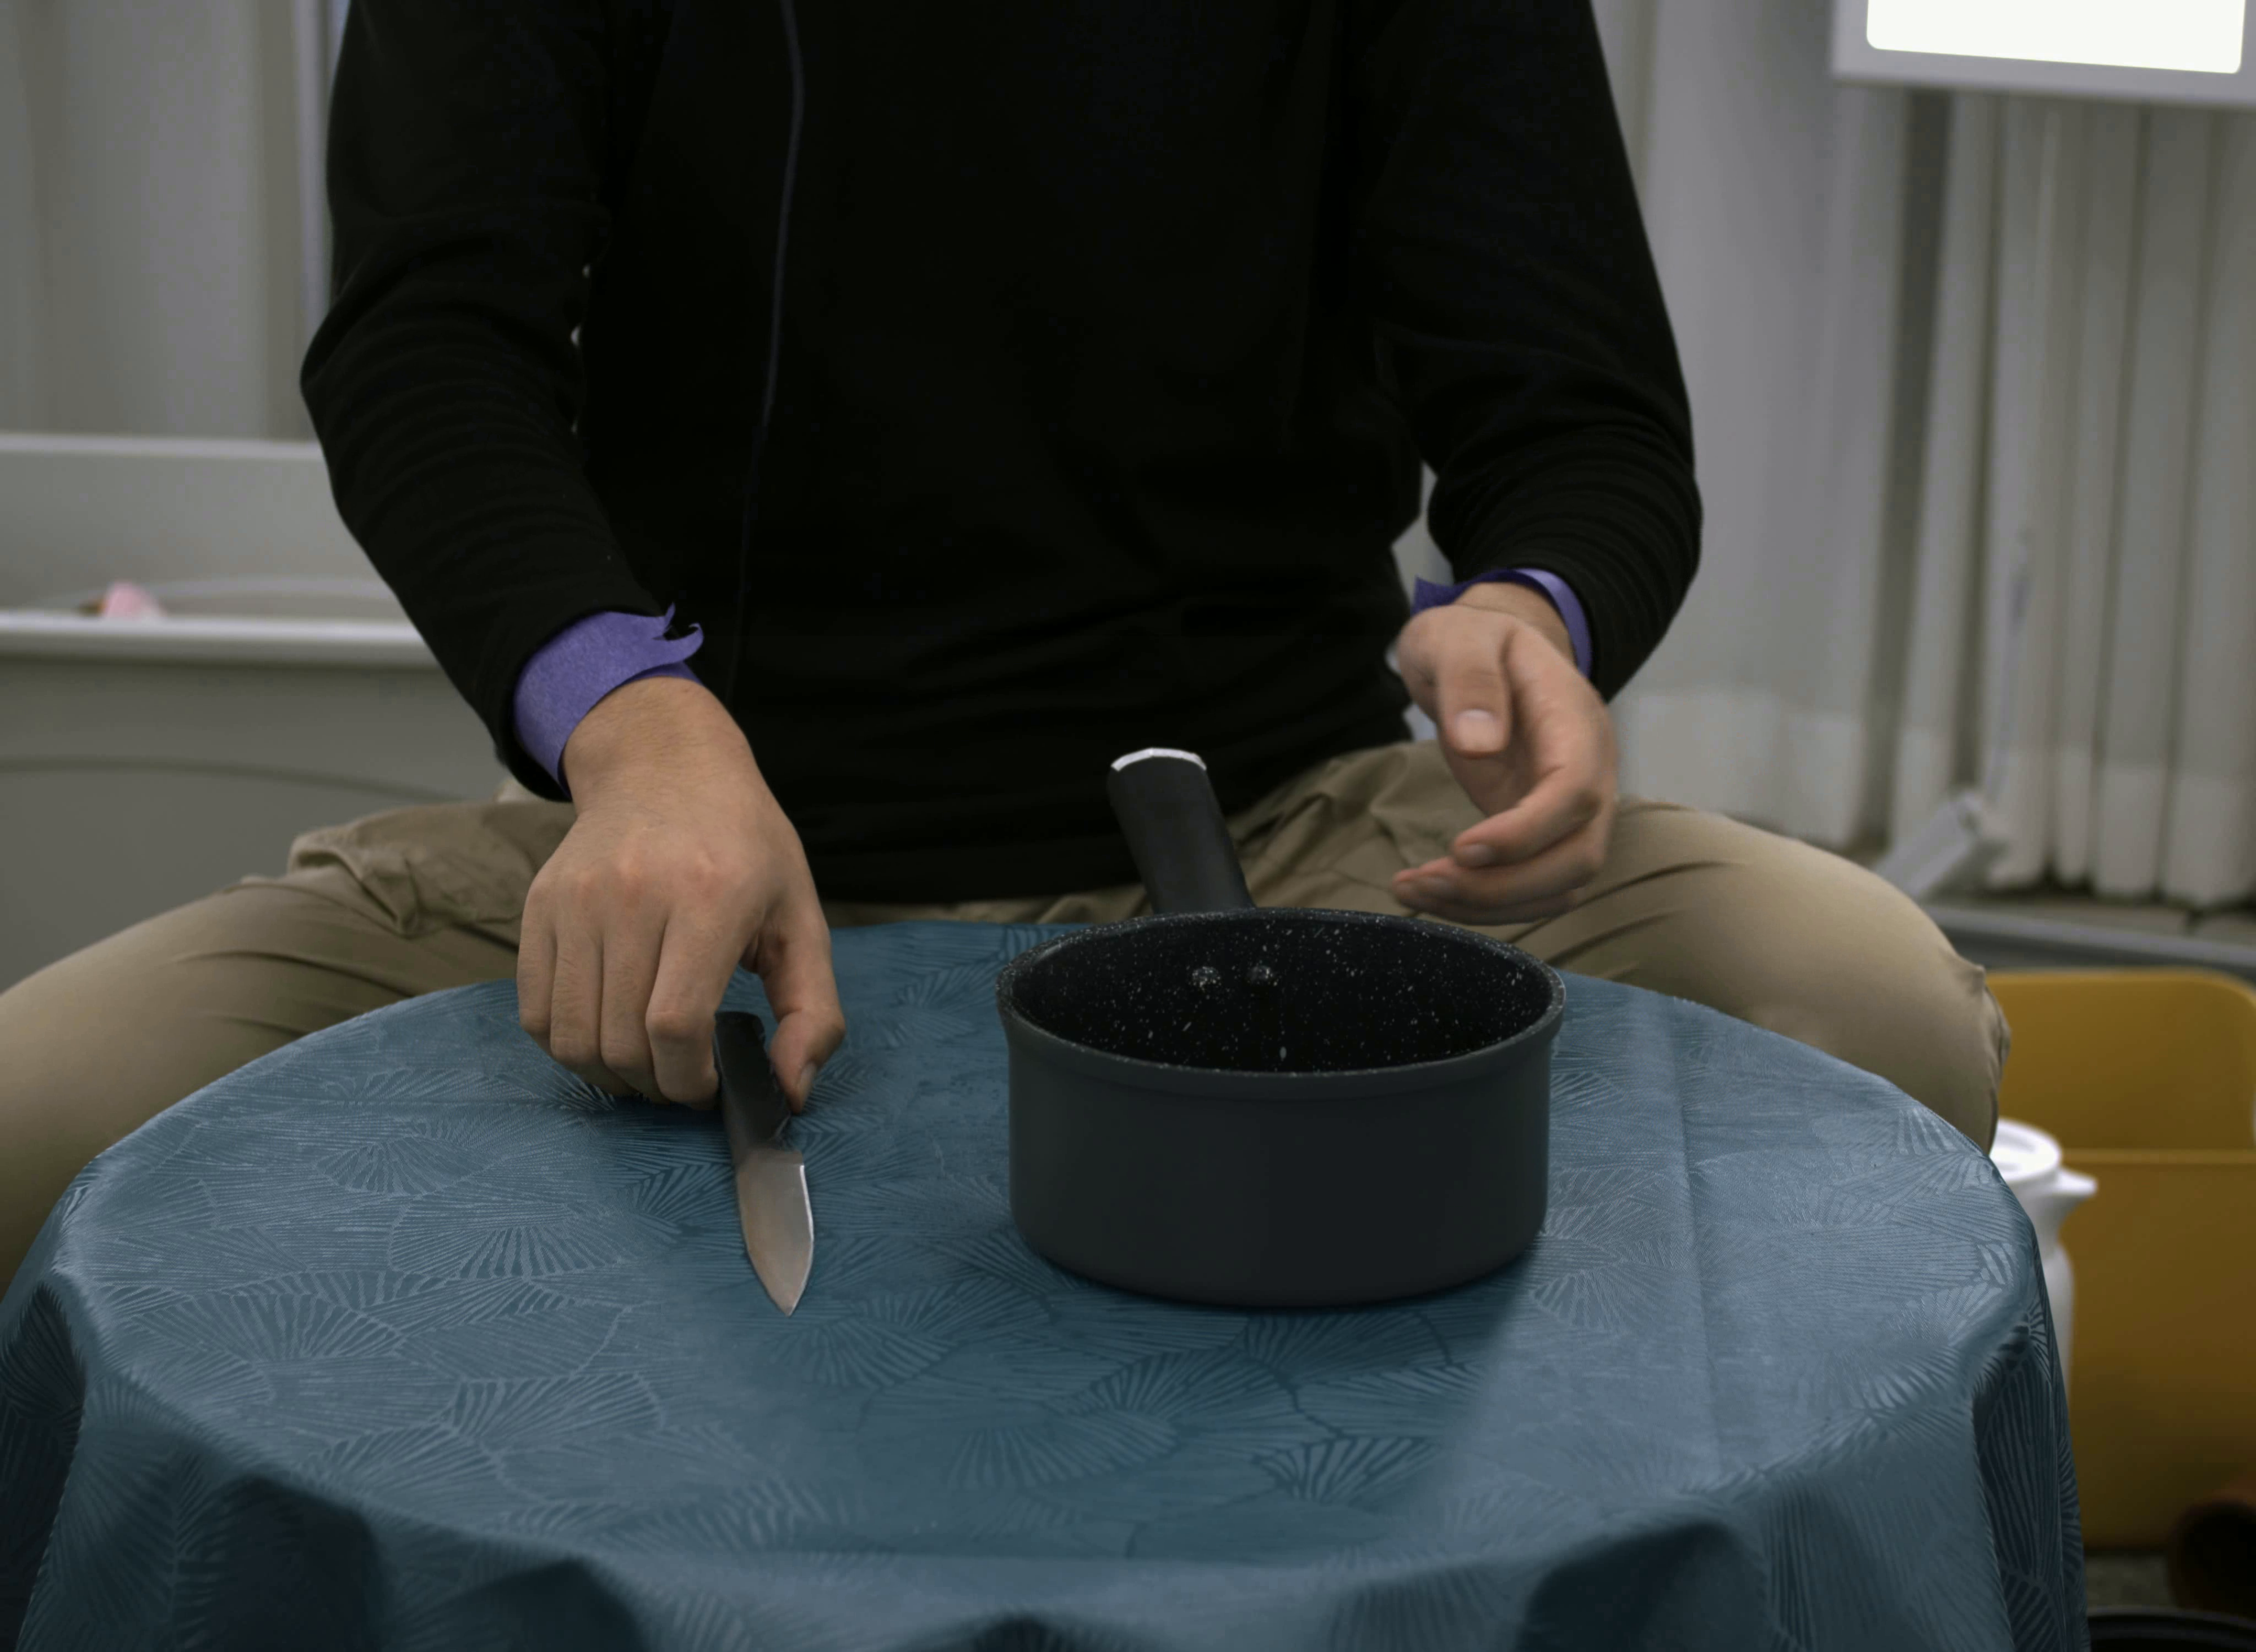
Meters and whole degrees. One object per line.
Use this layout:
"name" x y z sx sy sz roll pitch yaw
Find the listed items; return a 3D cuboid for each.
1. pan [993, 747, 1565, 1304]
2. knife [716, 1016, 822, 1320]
"pan" 0.037 0.059 1.659 0.172 0.087 0.326 -1 16 -6
"knife" -0.112 0.105 1.626 0.024 0.016 0.236 -2 19 -8
